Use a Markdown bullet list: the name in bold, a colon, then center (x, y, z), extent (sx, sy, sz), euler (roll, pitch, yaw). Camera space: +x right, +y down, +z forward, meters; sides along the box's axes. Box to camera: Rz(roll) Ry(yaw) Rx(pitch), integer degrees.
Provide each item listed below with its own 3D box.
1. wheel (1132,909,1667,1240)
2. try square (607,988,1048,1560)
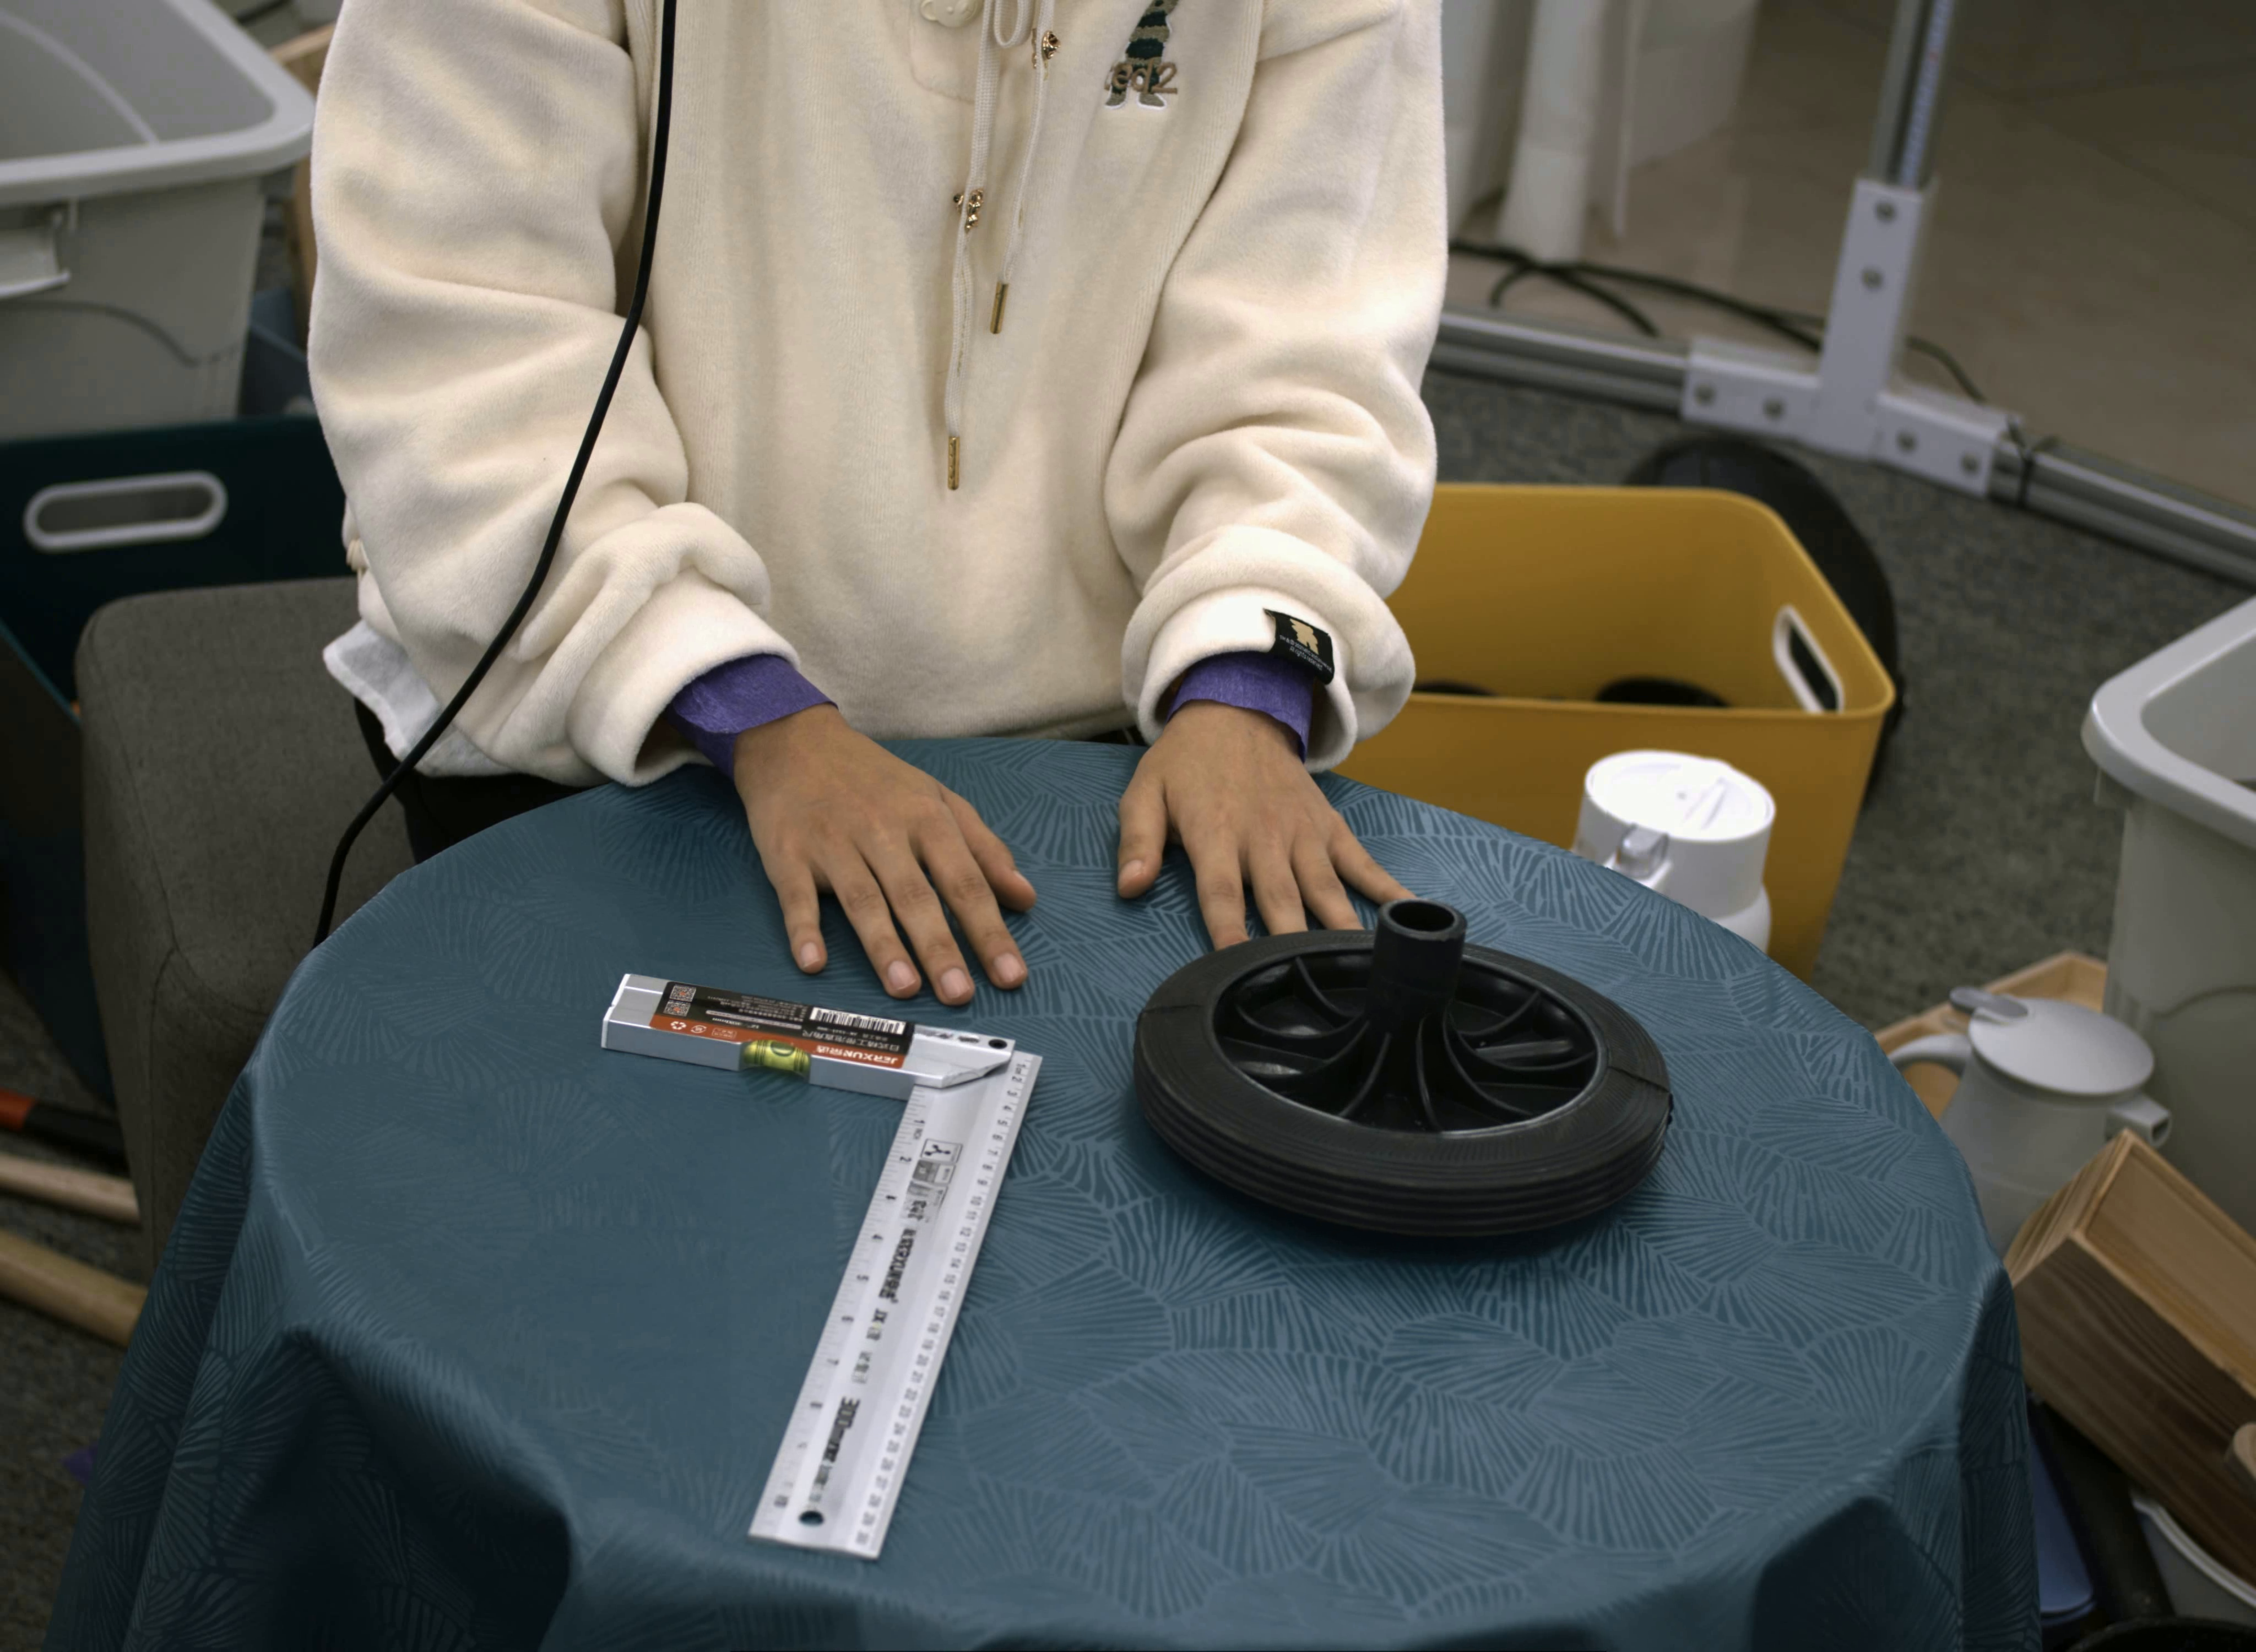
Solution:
- **wheel**: center (0.097, 0.070, 1.844), extent (0.189, 0.079, 0.189), euler (-19, 35, -42)
- **try square**: center (-0.125, 0.140, 1.738), extent (0.152, 0.016, 0.314), euler (7, 28, 7)
